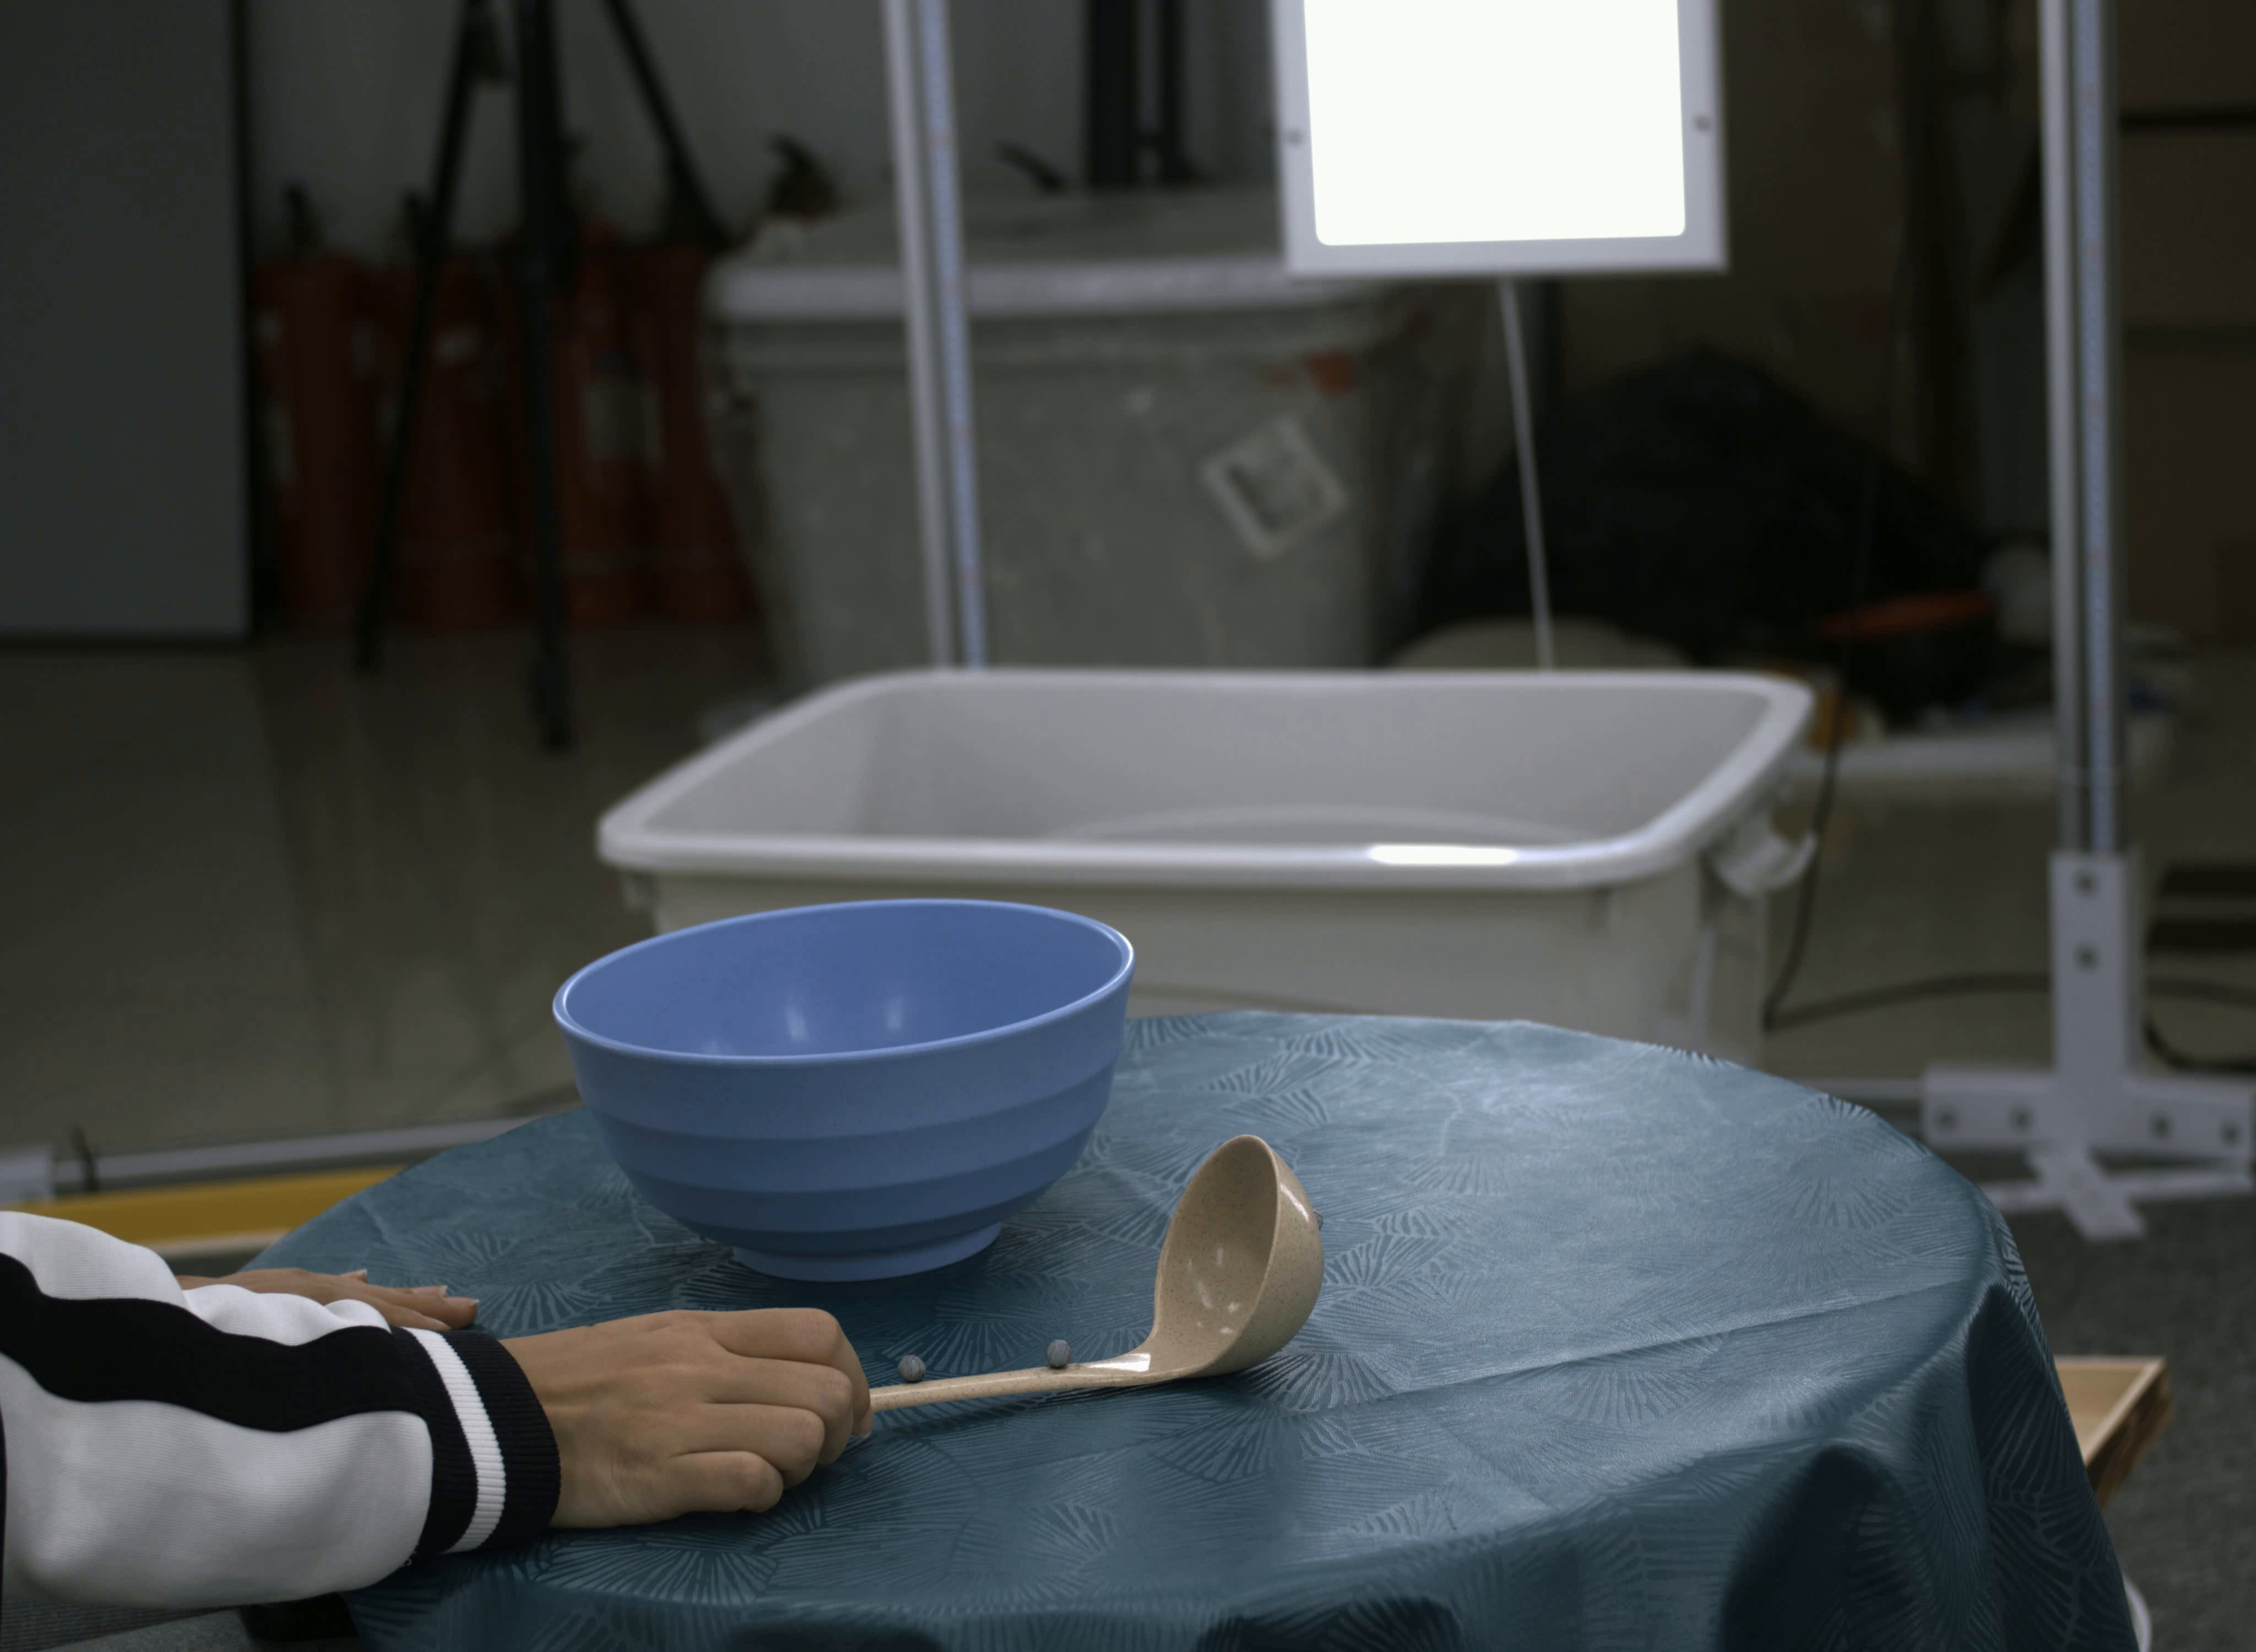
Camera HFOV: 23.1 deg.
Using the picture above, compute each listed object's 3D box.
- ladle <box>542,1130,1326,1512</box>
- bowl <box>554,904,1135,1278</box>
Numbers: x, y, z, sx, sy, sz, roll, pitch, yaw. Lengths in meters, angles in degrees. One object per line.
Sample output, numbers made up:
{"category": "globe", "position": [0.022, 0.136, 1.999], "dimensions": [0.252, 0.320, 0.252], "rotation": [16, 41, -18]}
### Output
{"category": "ladle", "position": [-0.060, 0.148, 1.674], "dimensions": [0.250, 0.073, 0.073], "rotation": [-10, 16, -21]}
{"category": "bowl", "position": [-0.093, 0.094, 1.861], "dimensions": [0.196, 0.096, 0.196], "rotation": [-3, 12, -1]}
